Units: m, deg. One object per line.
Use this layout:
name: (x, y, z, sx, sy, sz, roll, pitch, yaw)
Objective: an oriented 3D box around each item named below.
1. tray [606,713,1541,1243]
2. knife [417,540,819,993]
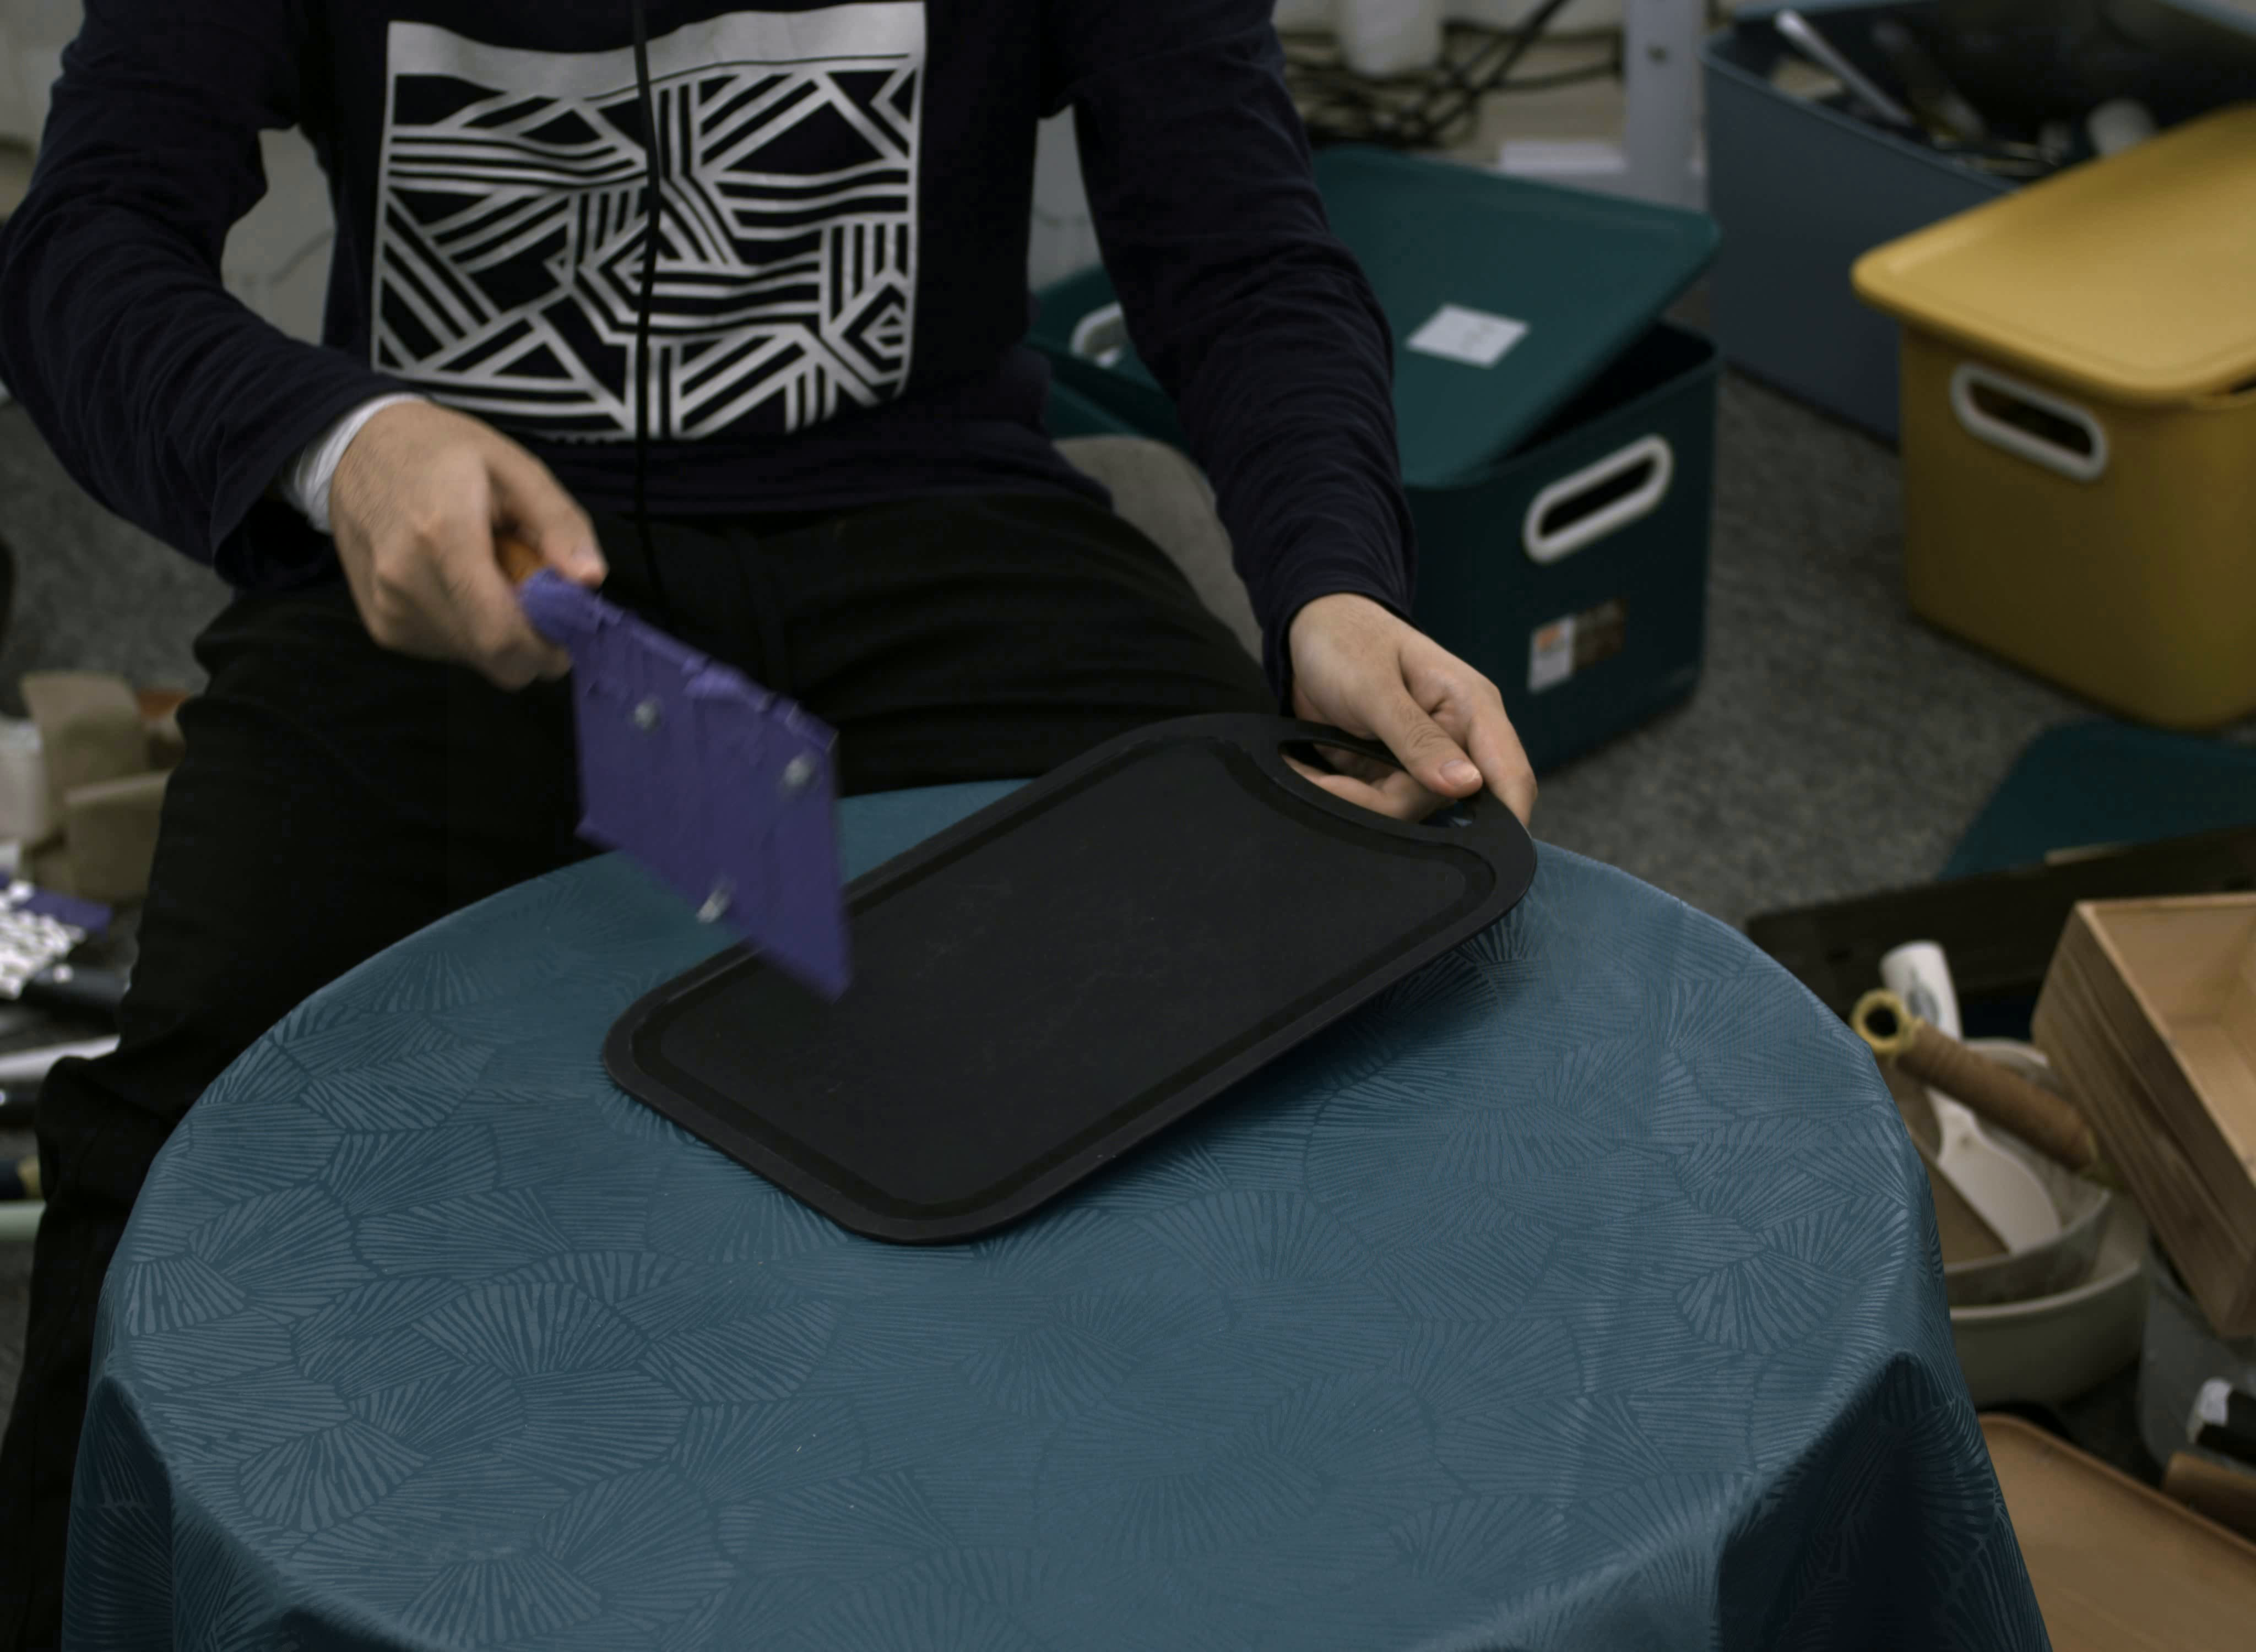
tray: (-0.013, 0.042, 1.975, 0.329, 0.009, 0.211, -29, 36, -31)
knife: (-0.174, -0.021, 1.896, 0.032, 0.103, 0.316, -5, 17, -26)
